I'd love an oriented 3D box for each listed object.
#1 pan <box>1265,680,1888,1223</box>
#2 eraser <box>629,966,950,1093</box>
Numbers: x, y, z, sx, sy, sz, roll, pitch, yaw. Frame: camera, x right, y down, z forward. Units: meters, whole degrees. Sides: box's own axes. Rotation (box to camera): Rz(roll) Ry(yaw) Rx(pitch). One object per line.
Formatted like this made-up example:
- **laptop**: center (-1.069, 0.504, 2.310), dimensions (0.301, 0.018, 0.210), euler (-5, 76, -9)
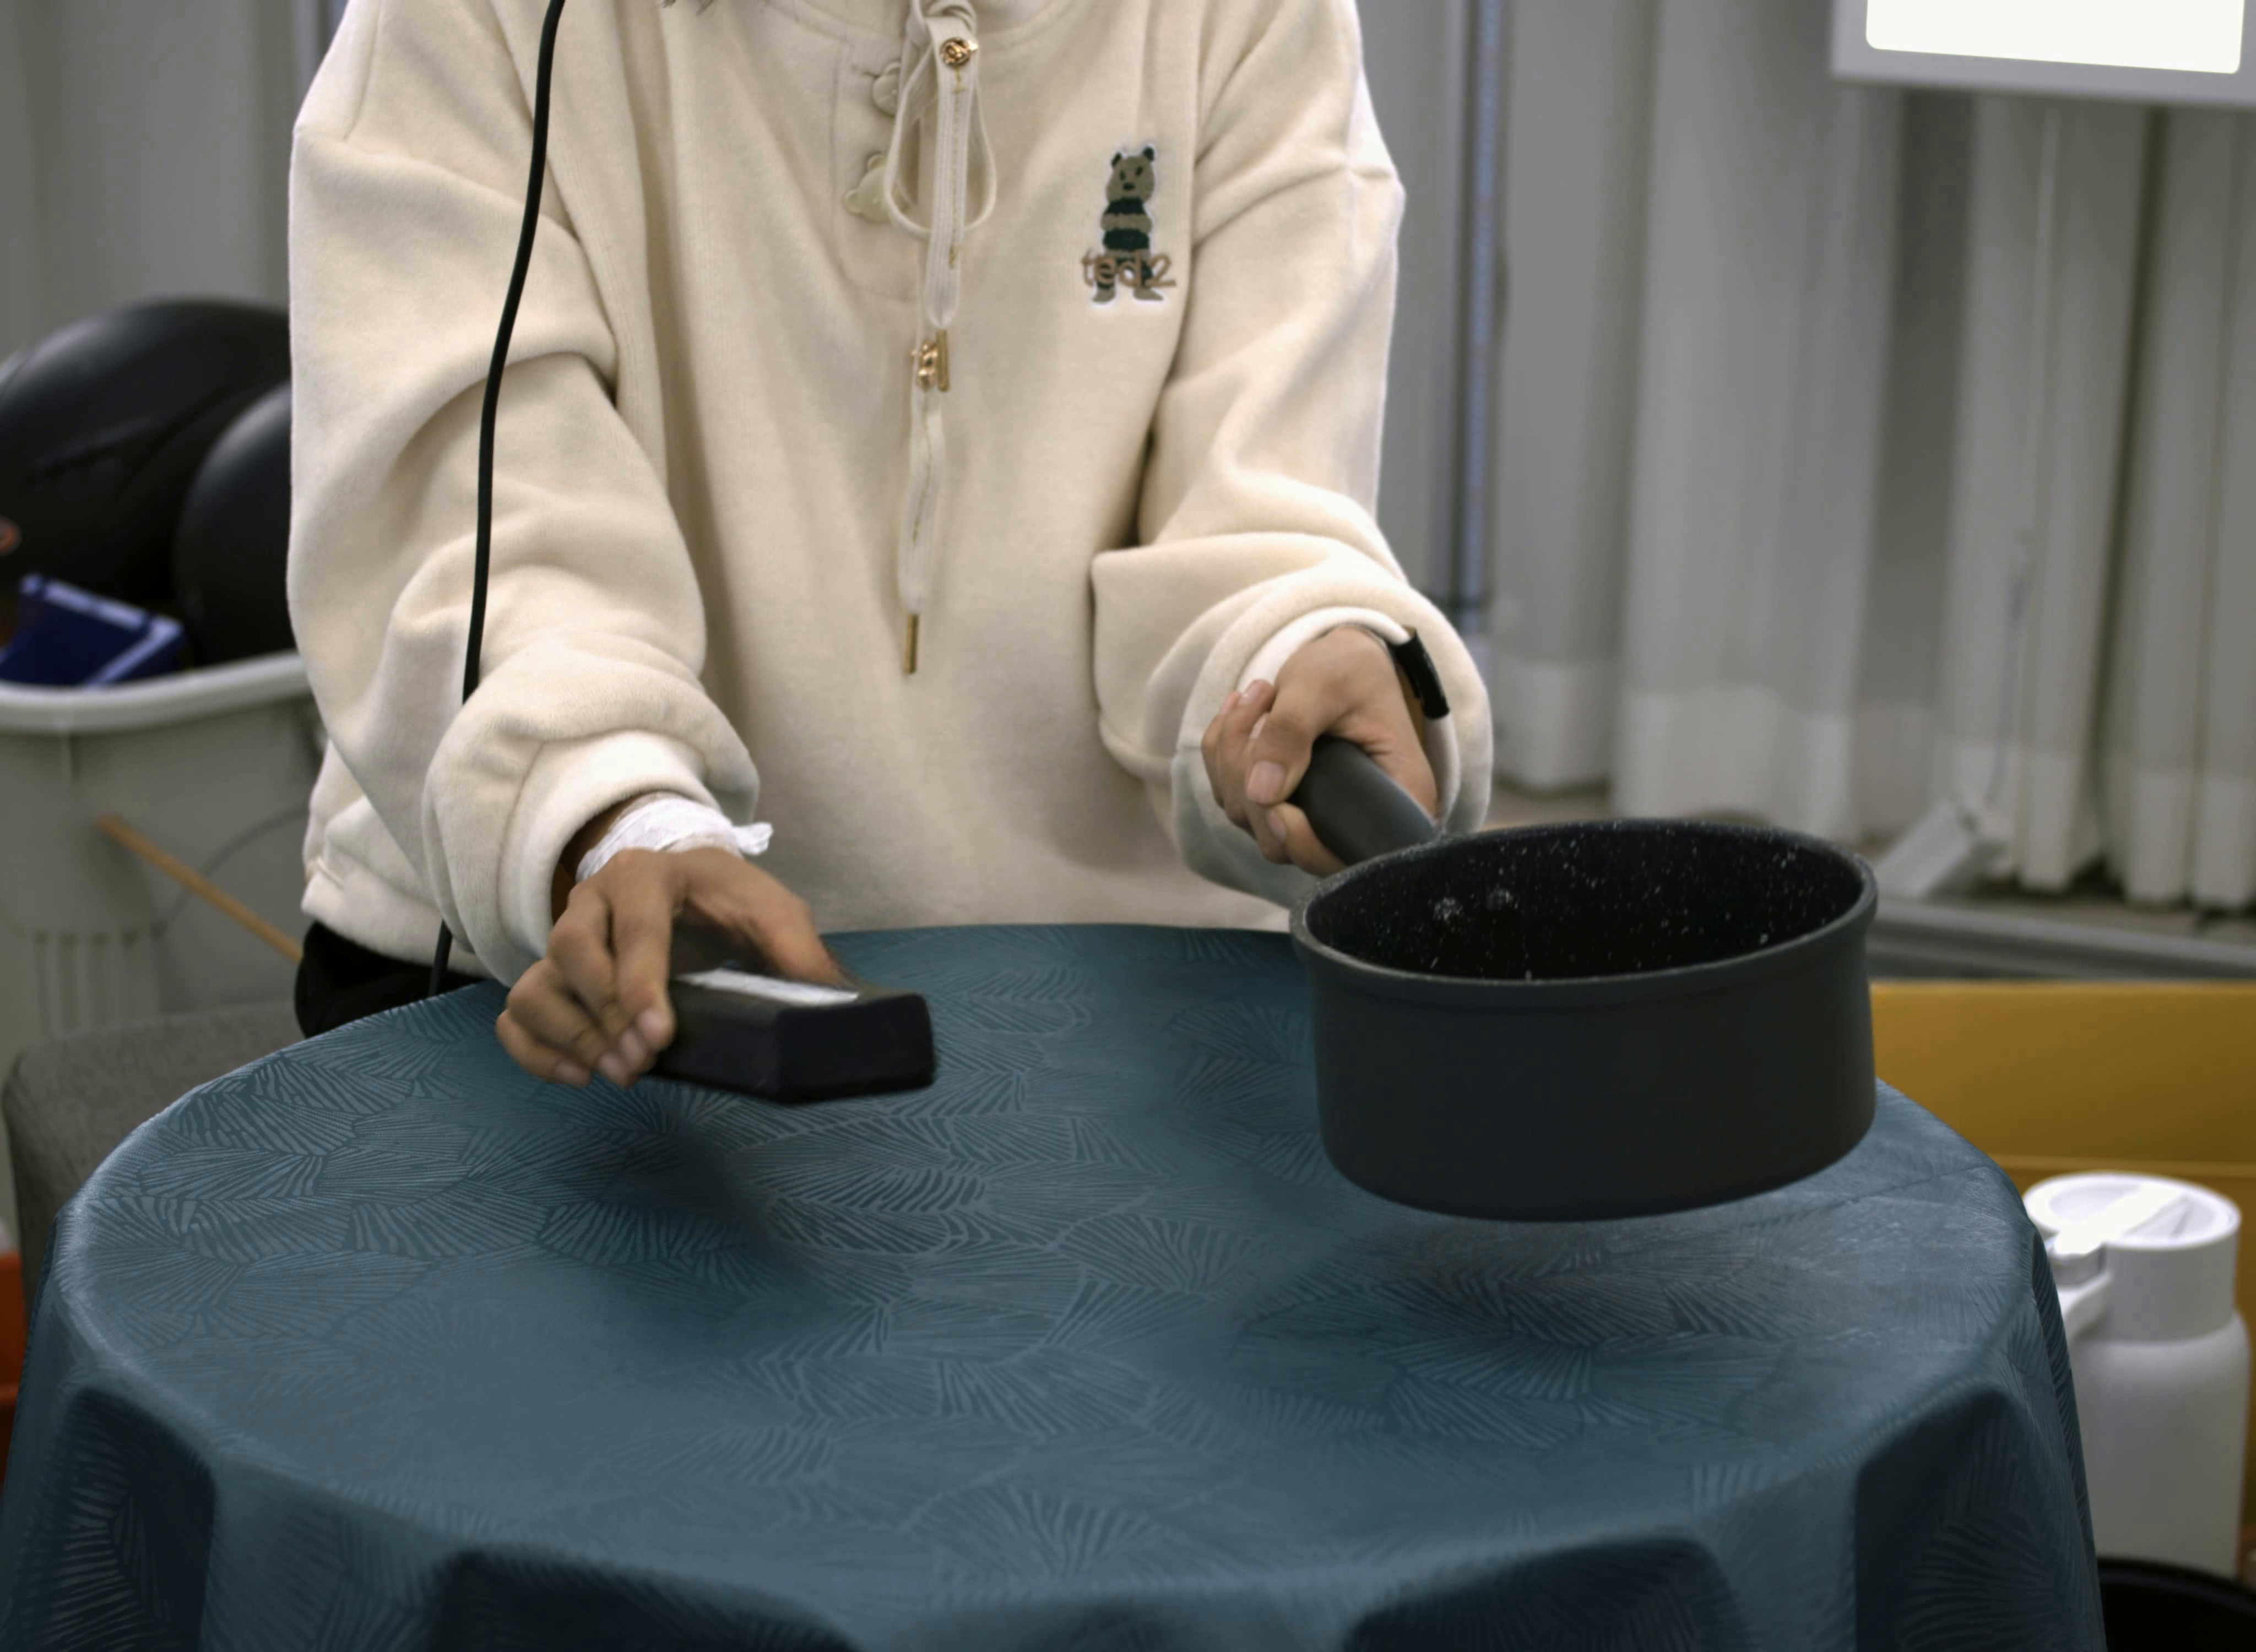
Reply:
- **pan**: center (0.111, 0.033, 1.607), dimensions (0.172, 0.087, 0.325), euler (-10, 17, -16)
- **eraser**: center (-0.102, 0.060, 1.575), dimensions (0.054, 0.030, 0.124), euler (-6, 4, -27)
